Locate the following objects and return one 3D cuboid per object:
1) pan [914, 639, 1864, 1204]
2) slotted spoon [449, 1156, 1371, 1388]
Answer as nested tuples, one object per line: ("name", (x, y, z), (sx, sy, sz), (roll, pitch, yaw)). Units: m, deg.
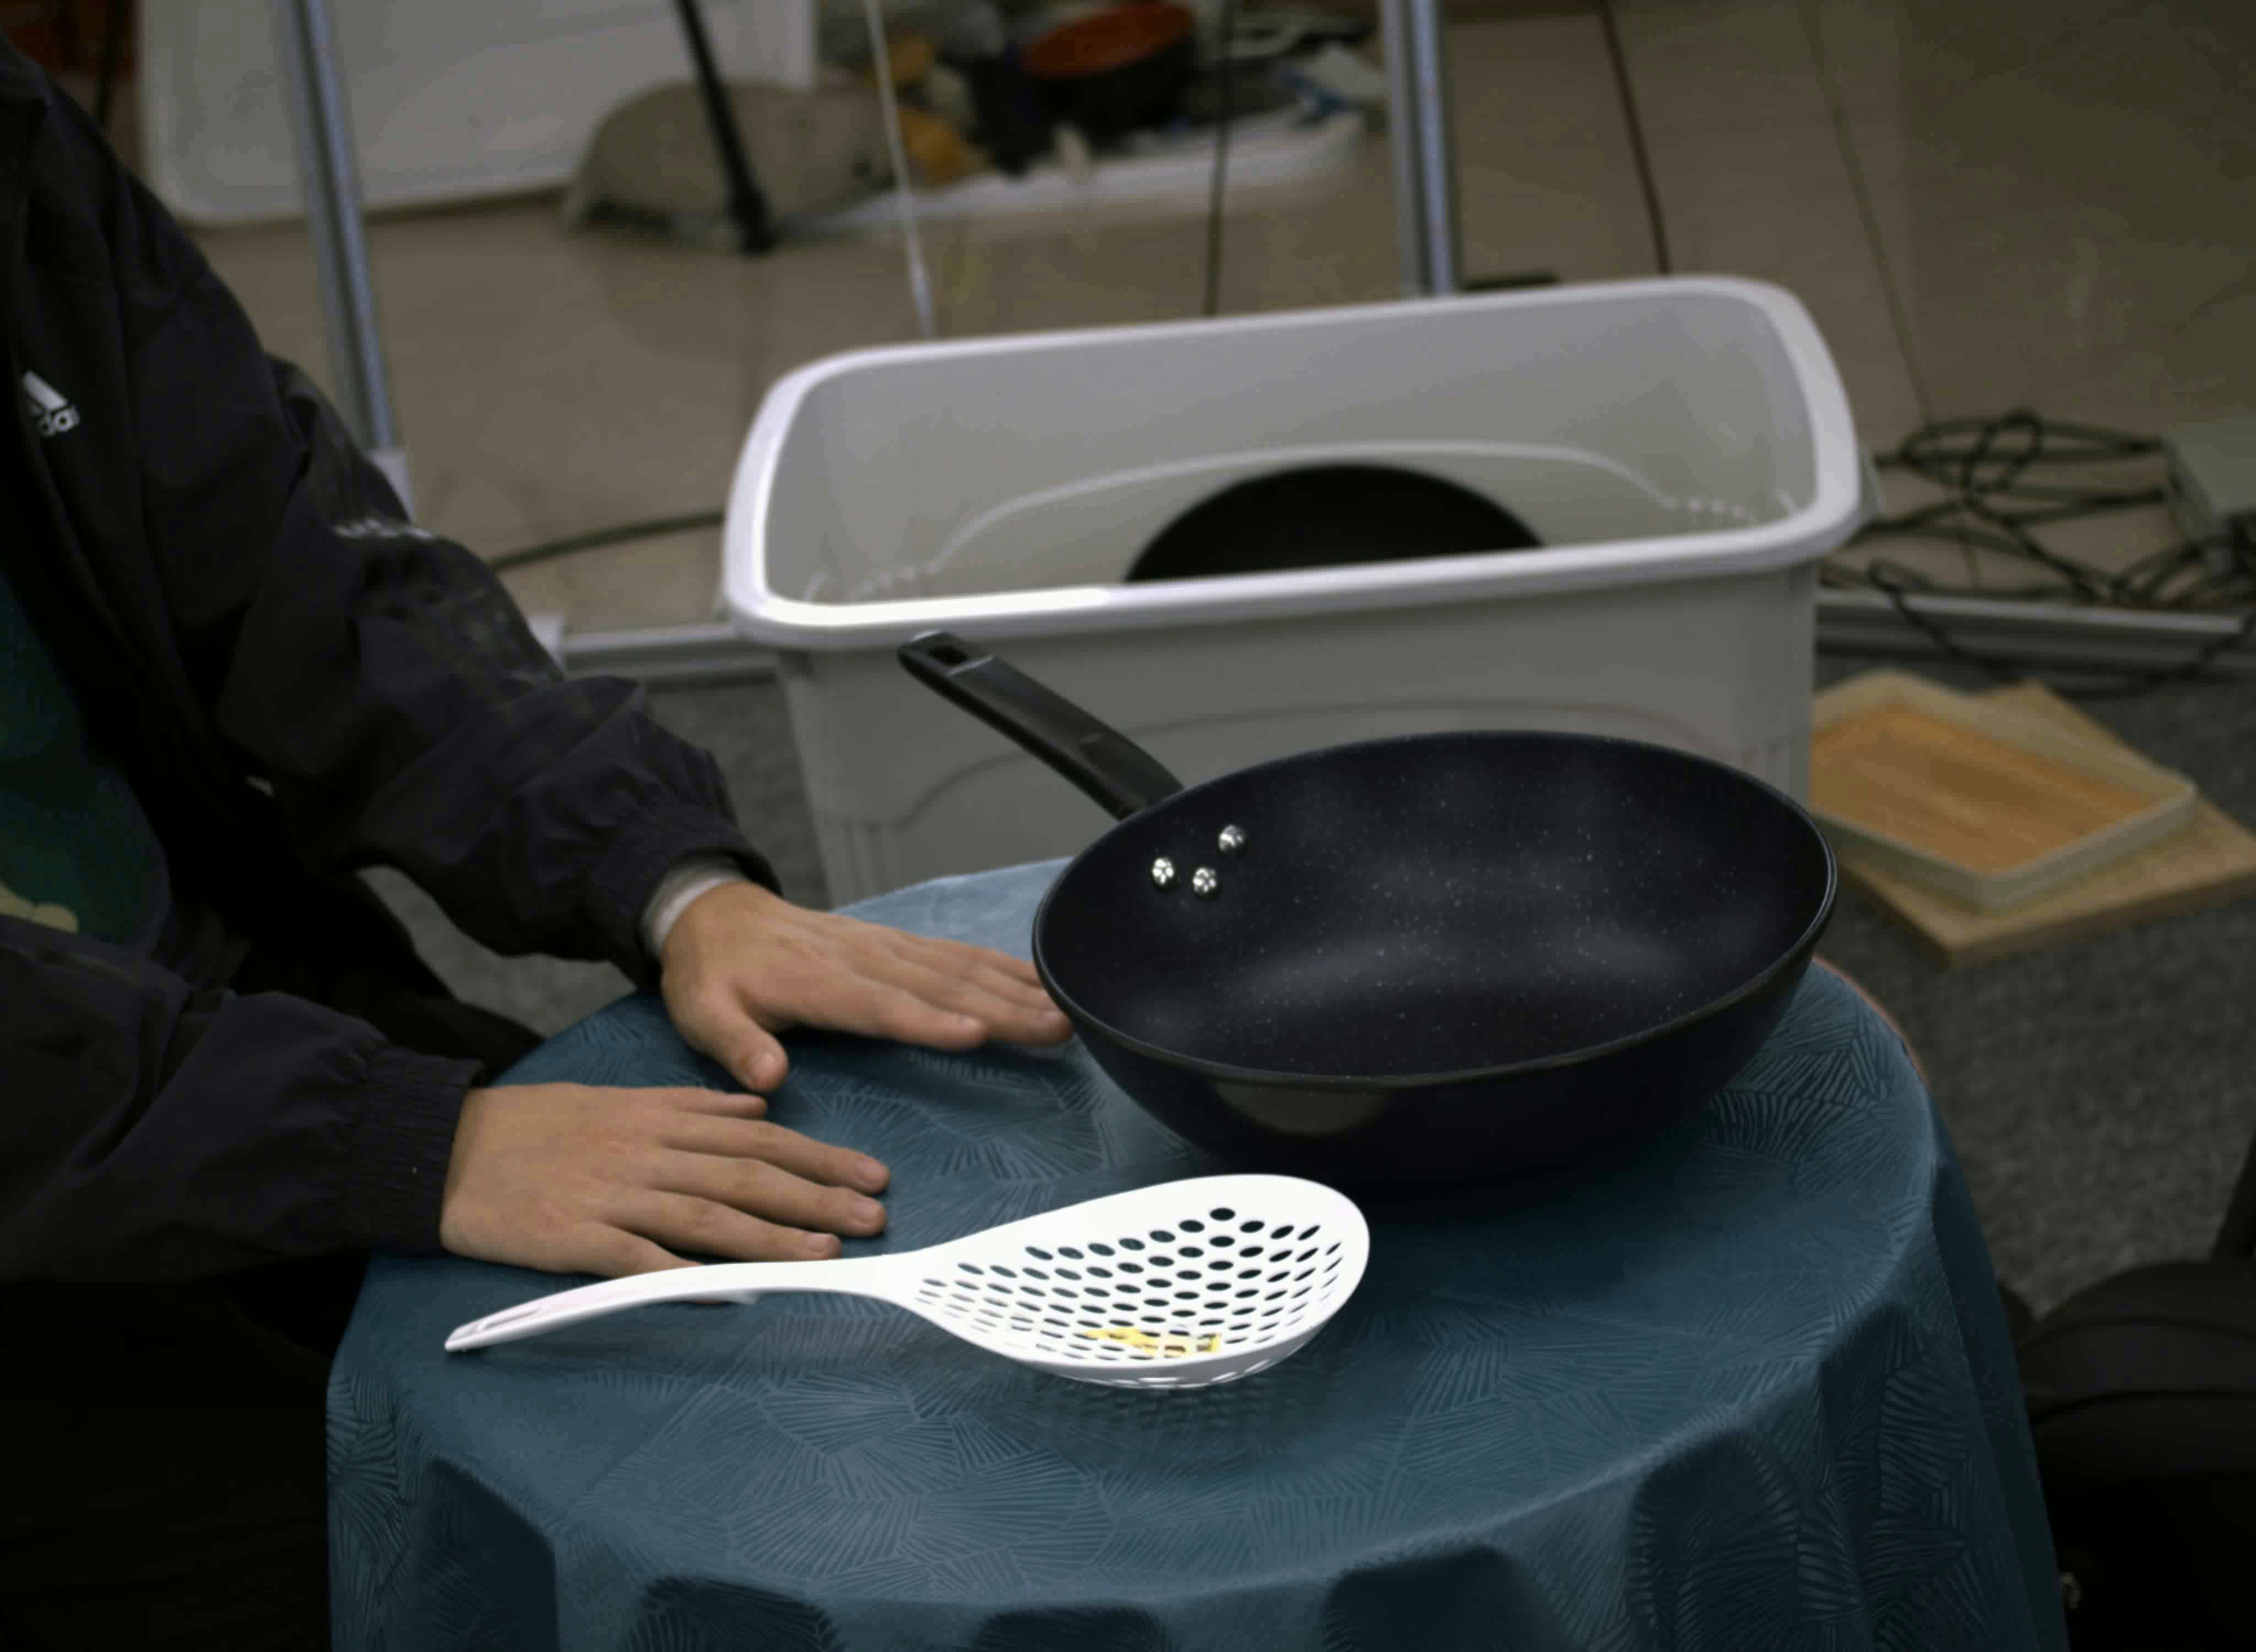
("pan", (0.073, 0.035, 2.227), (0.308, 0.113, 0.472), (-23, 30, -34))
("slotted spoon", (-0.082, 0.172, 2.047), (0.347, 0.051, 0.135), (-1, 27, 14))
